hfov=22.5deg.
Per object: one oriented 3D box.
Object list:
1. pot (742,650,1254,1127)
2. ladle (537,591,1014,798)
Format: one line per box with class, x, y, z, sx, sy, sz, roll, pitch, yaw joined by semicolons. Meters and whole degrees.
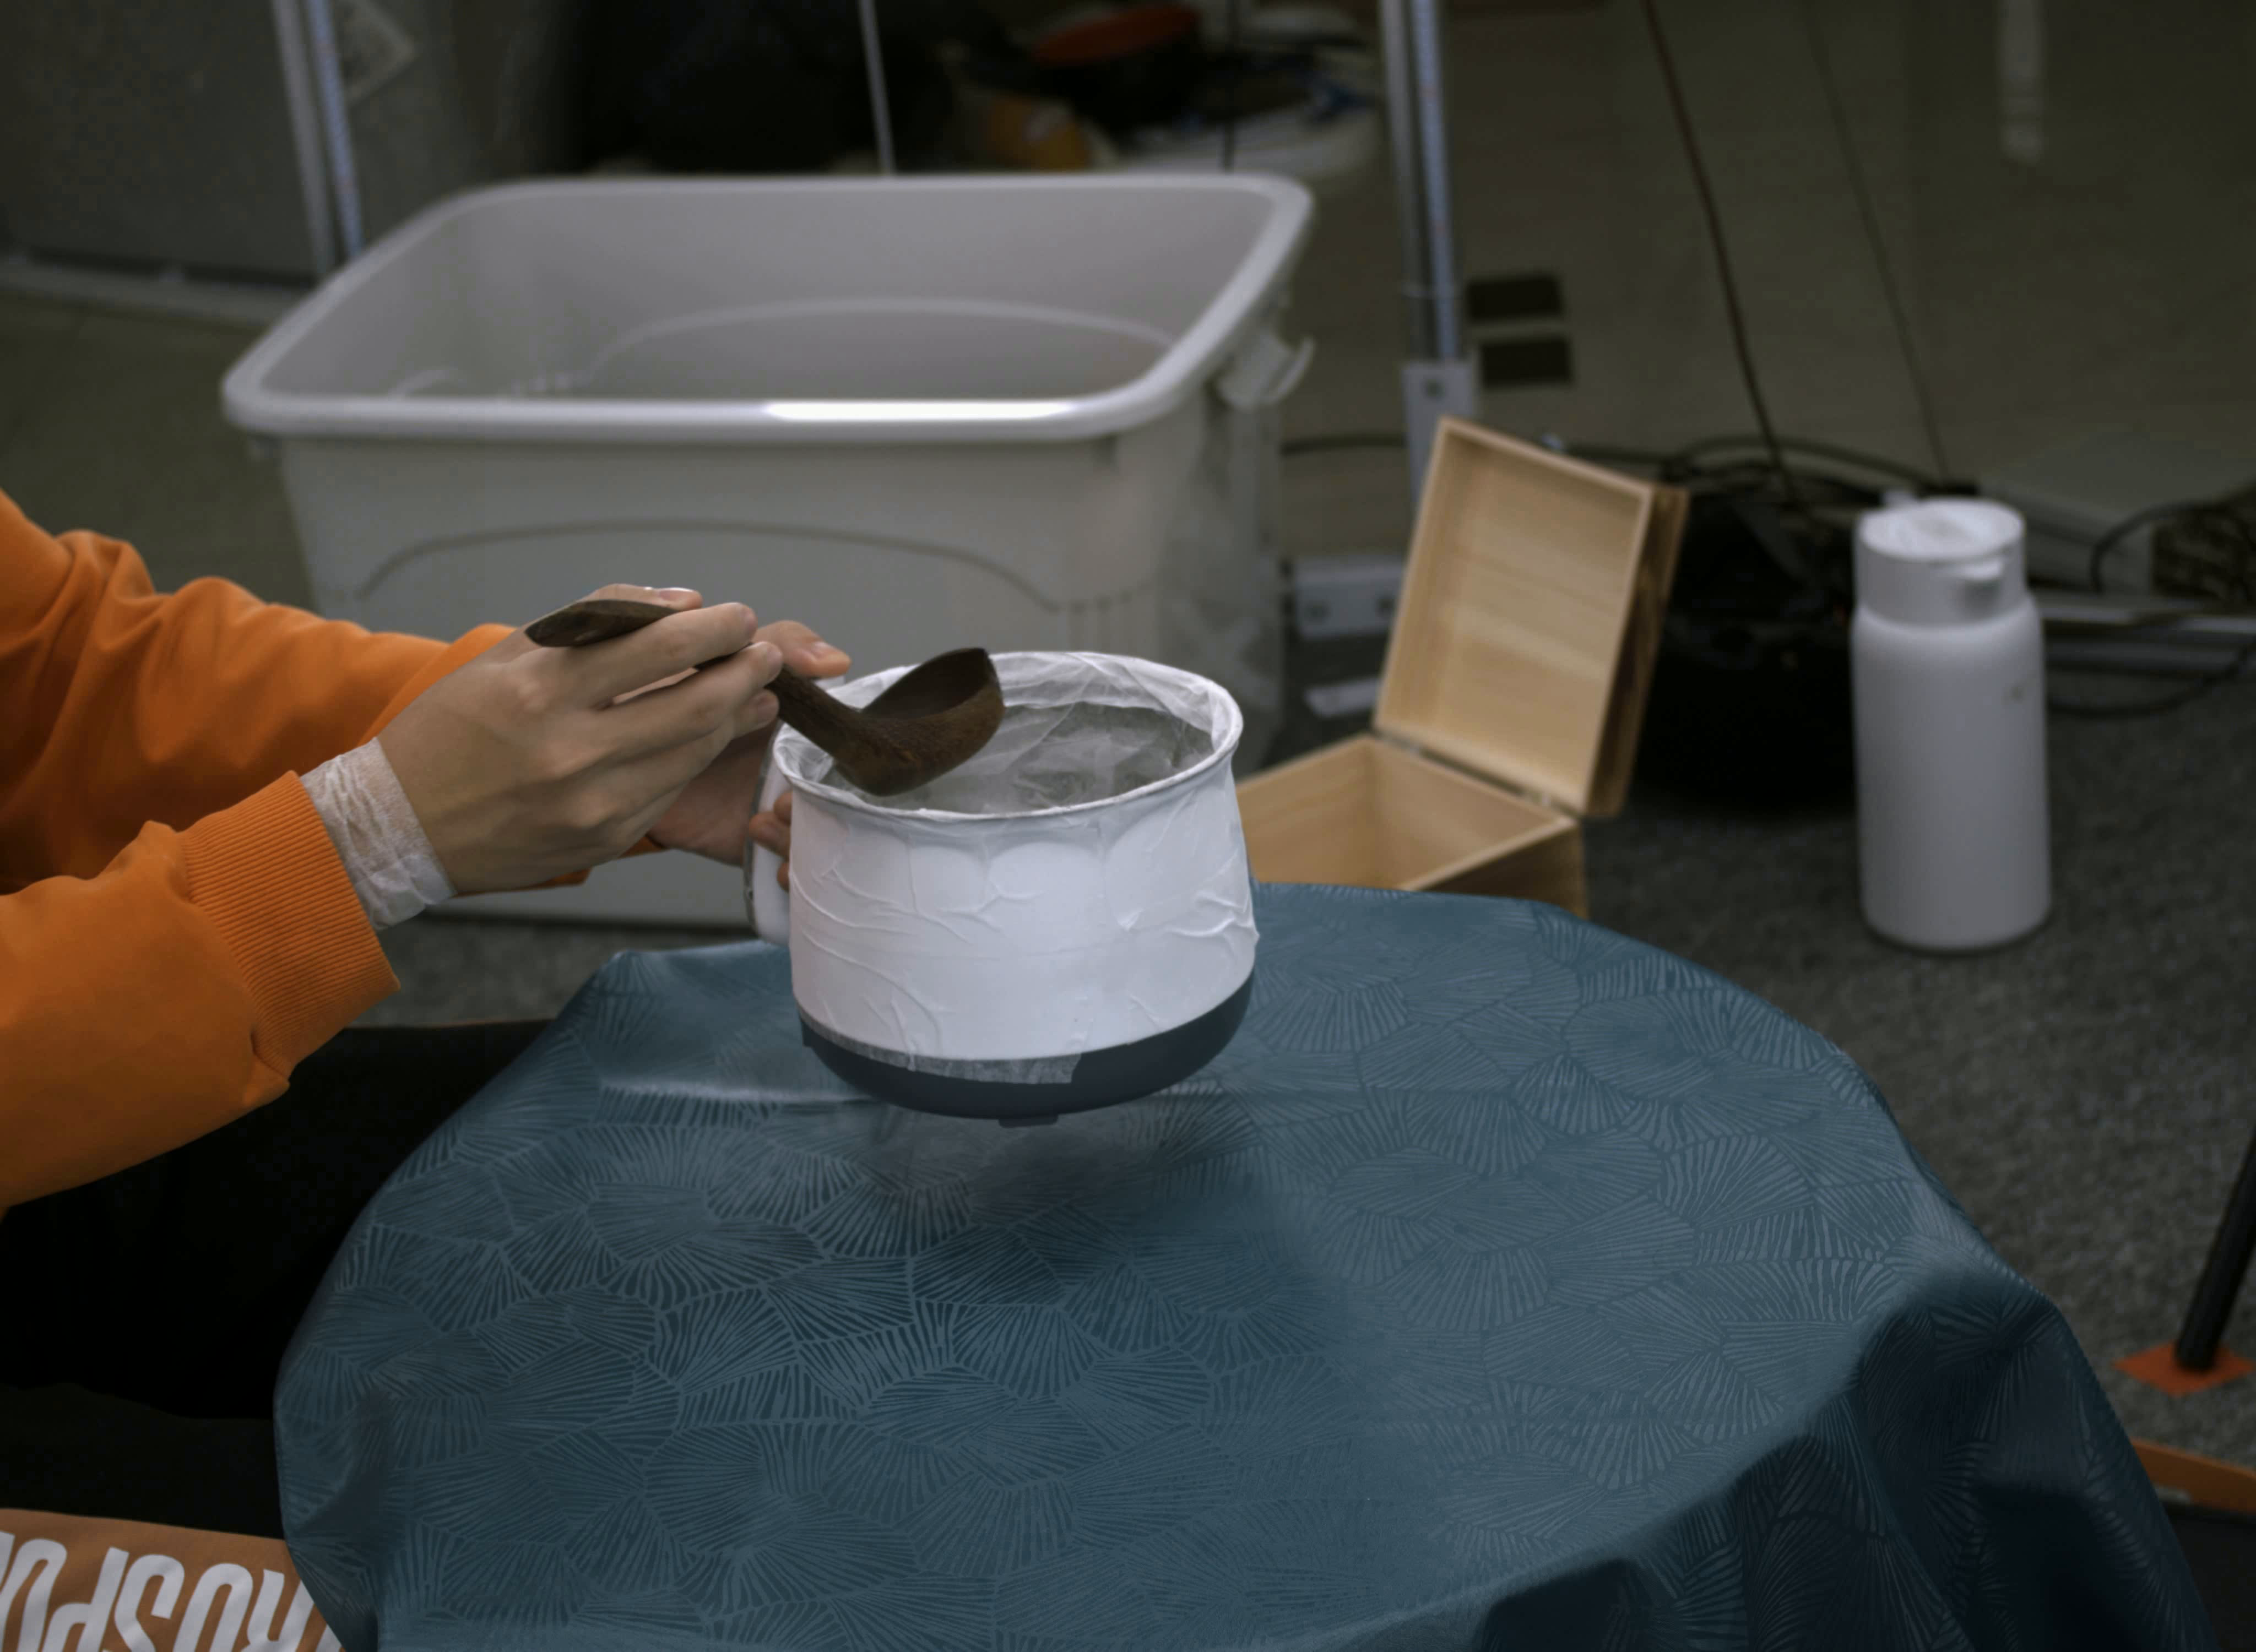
pot;-0.062;0.017;2.159;0.232;0.138;0.177;16;28;40
ladle;-0.131;-0.067;2.034;0.076;0.276;0.070;-30;62;22
